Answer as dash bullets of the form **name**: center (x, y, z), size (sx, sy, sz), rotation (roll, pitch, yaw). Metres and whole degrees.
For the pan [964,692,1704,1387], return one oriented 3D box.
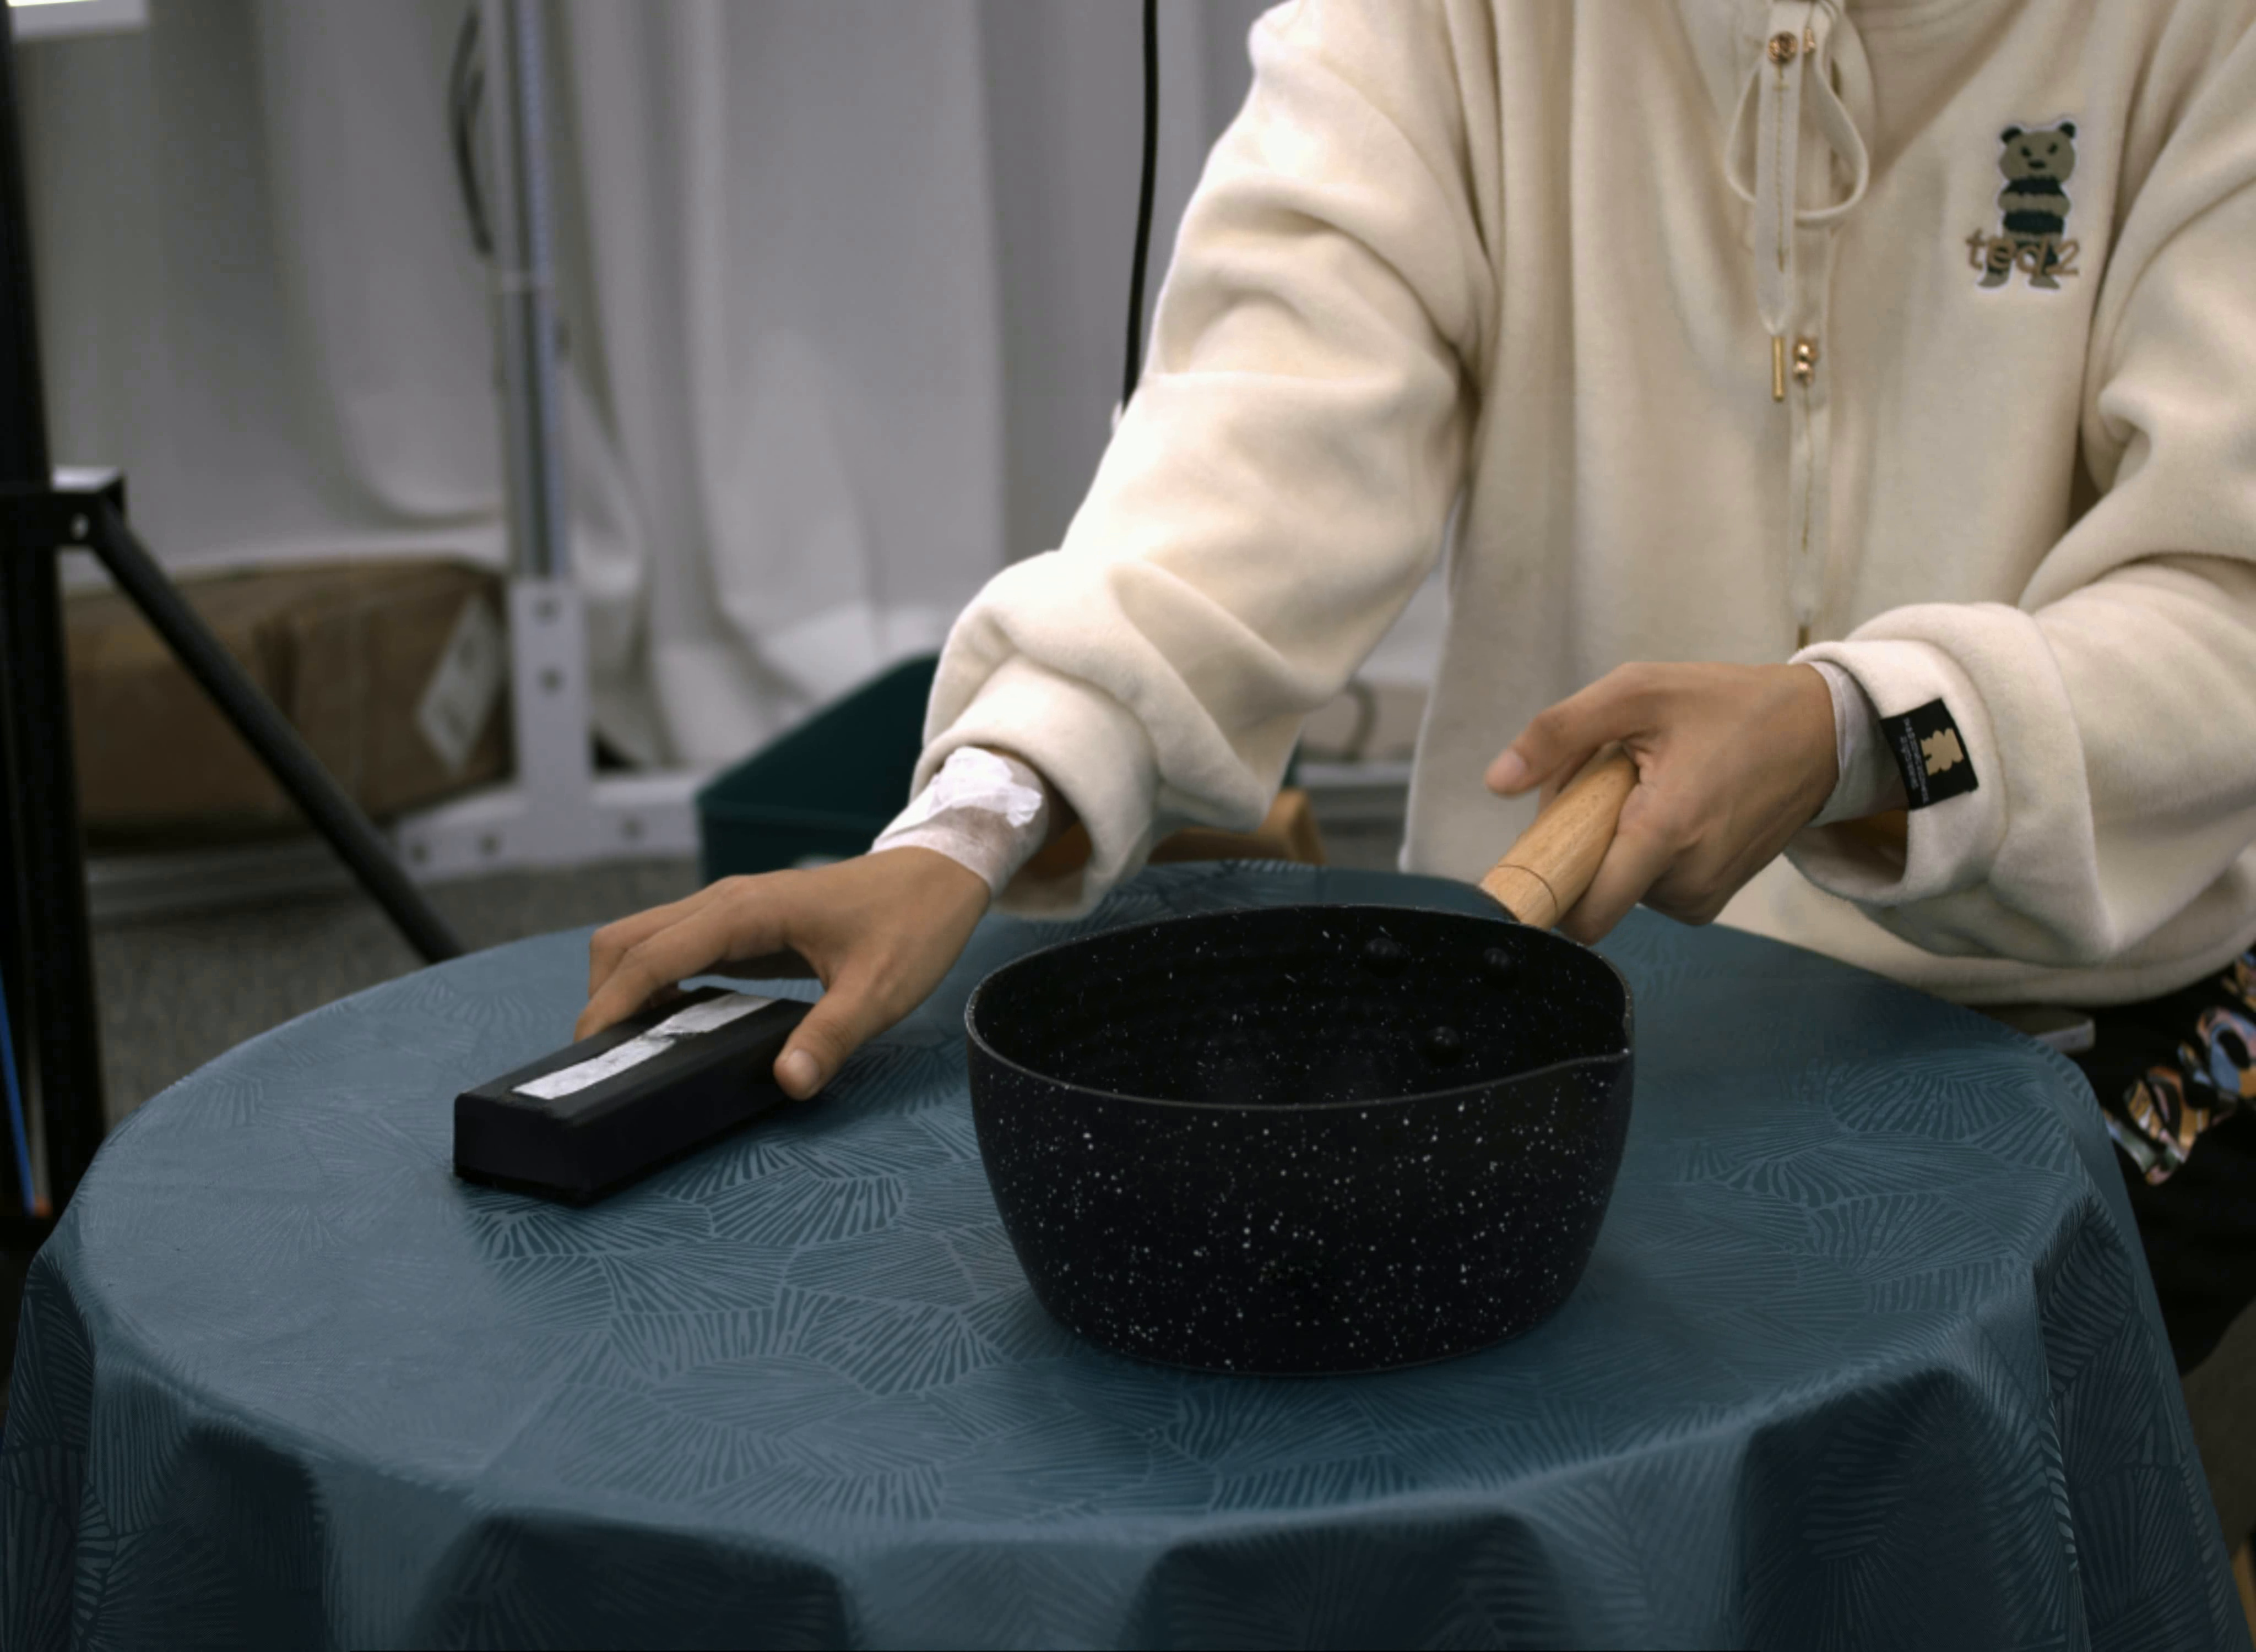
- **pan**: center (0.086, 0.056, 1.527), size (0.211, 0.108, 0.337), rotation (5, 19, 29)

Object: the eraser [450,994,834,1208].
- **eraser**: center (-0.146, 0.083, 1.622), size (0.054, 0.030, 0.123), rotation (8, 18, 34)
